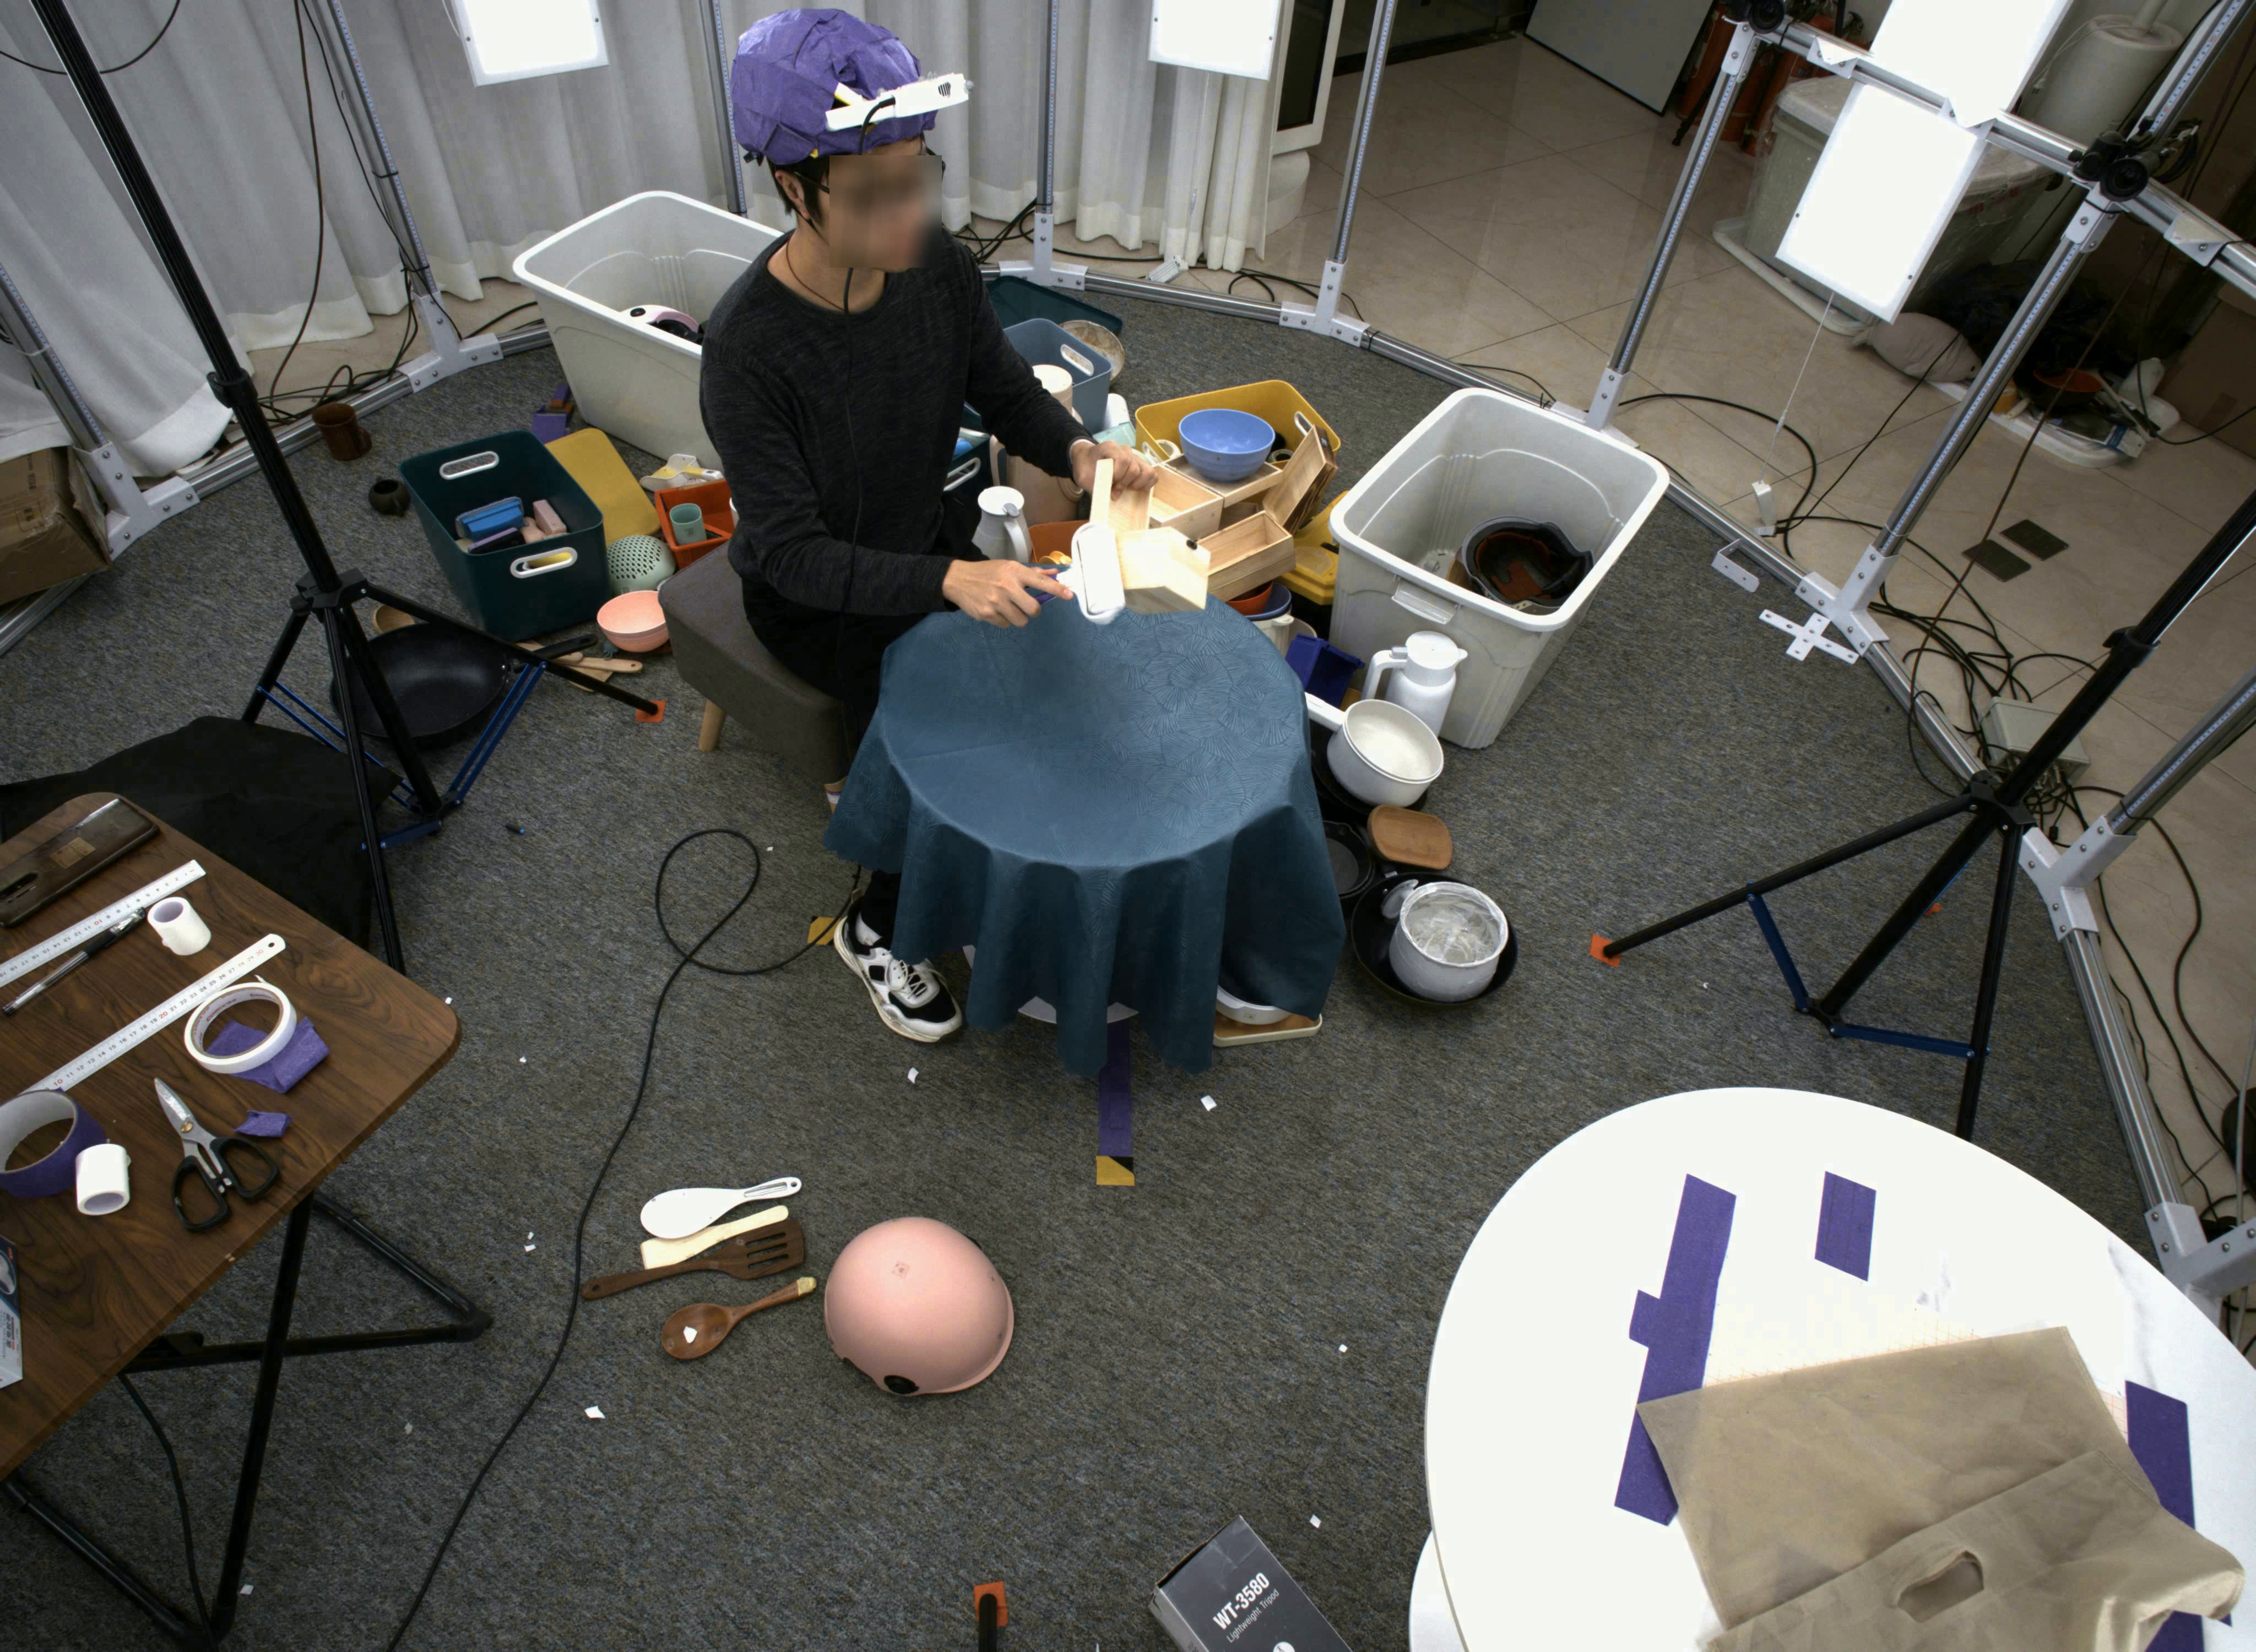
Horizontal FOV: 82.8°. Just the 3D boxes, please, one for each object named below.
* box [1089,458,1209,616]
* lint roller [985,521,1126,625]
[{"bbox_3d":[0.030,-0.375,1.655,0.134,0.101,0.186,1,79,34],"label":"box"},{"bbox_3d":[-0.096,-0.304,1.605,0.181,0.049,0.135,-9,73,8],"label":"lint roller"}]
